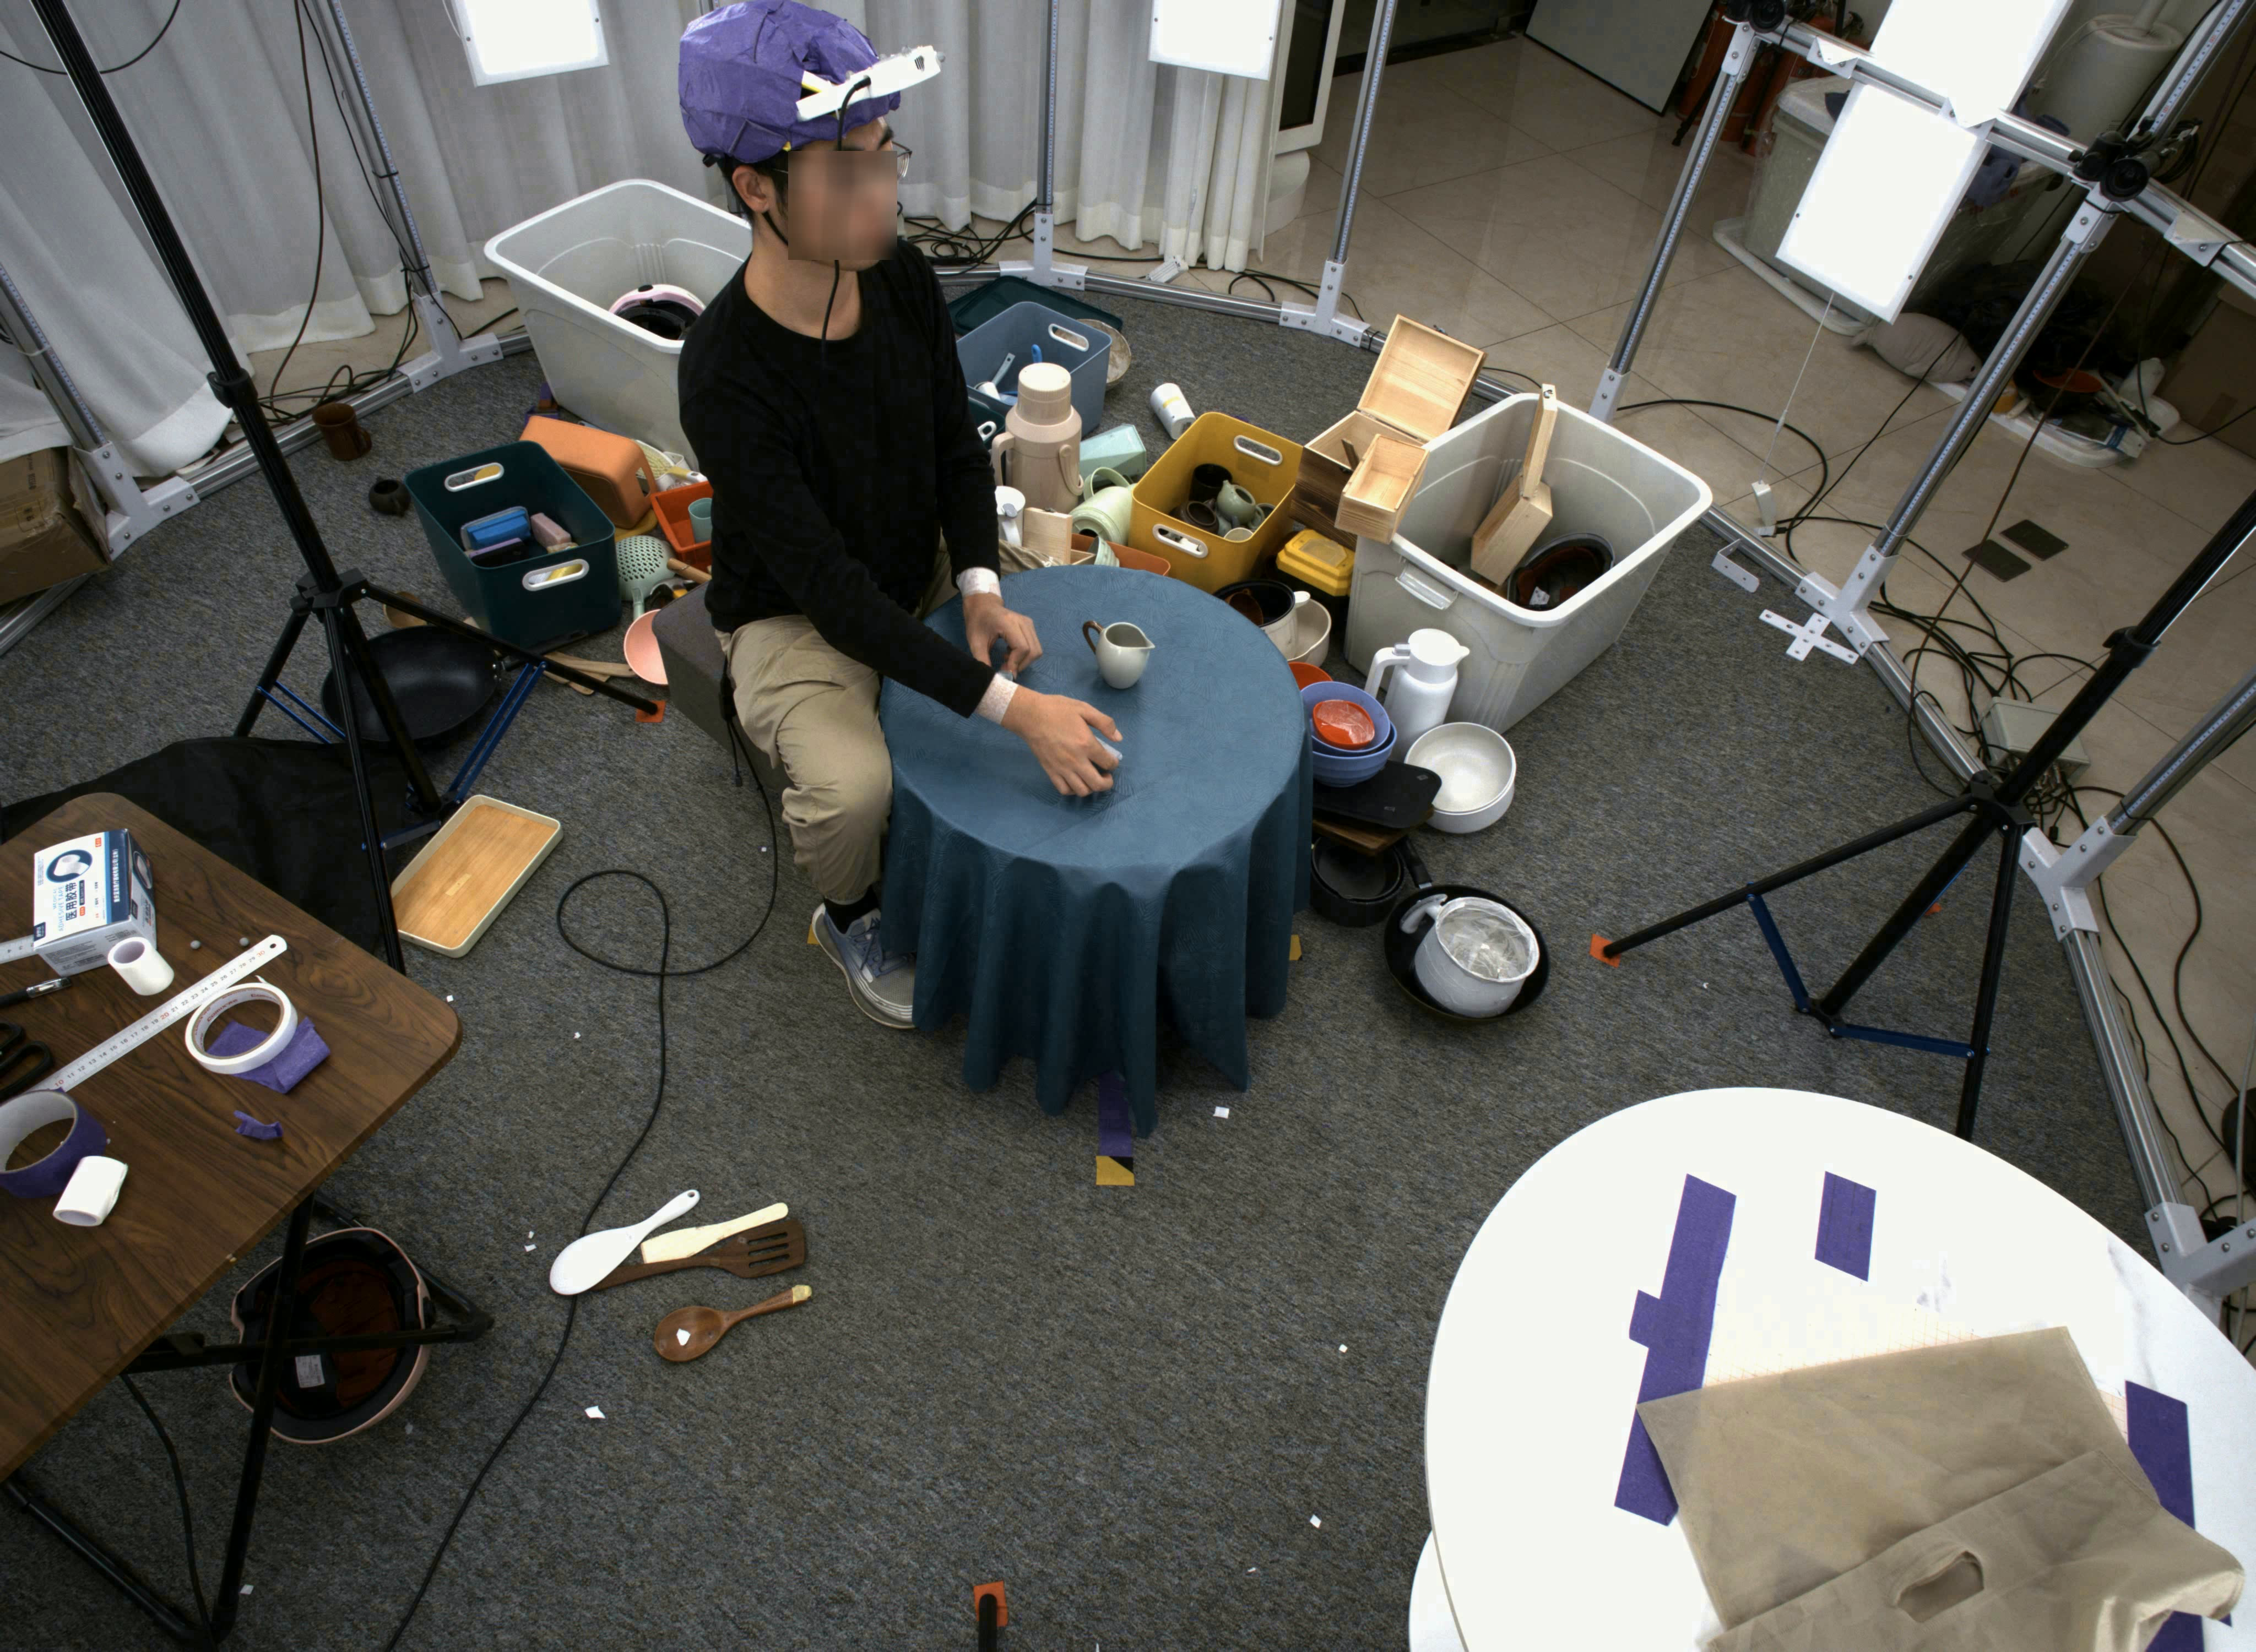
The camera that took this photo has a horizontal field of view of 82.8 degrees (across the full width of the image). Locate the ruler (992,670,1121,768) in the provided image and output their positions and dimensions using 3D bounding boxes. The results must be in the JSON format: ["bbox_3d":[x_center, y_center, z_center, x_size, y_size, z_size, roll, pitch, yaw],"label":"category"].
[{"bbox_3d":[-0.103,-0.150,1.749,0.221,0.023,0.039,35,62,25],"label":"ruler"}]

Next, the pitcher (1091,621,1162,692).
[{"bbox_3d":[-0.006,-0.241,1.823,0.120,0.086,0.077,33,51,20],"label":"pitcher"}]
